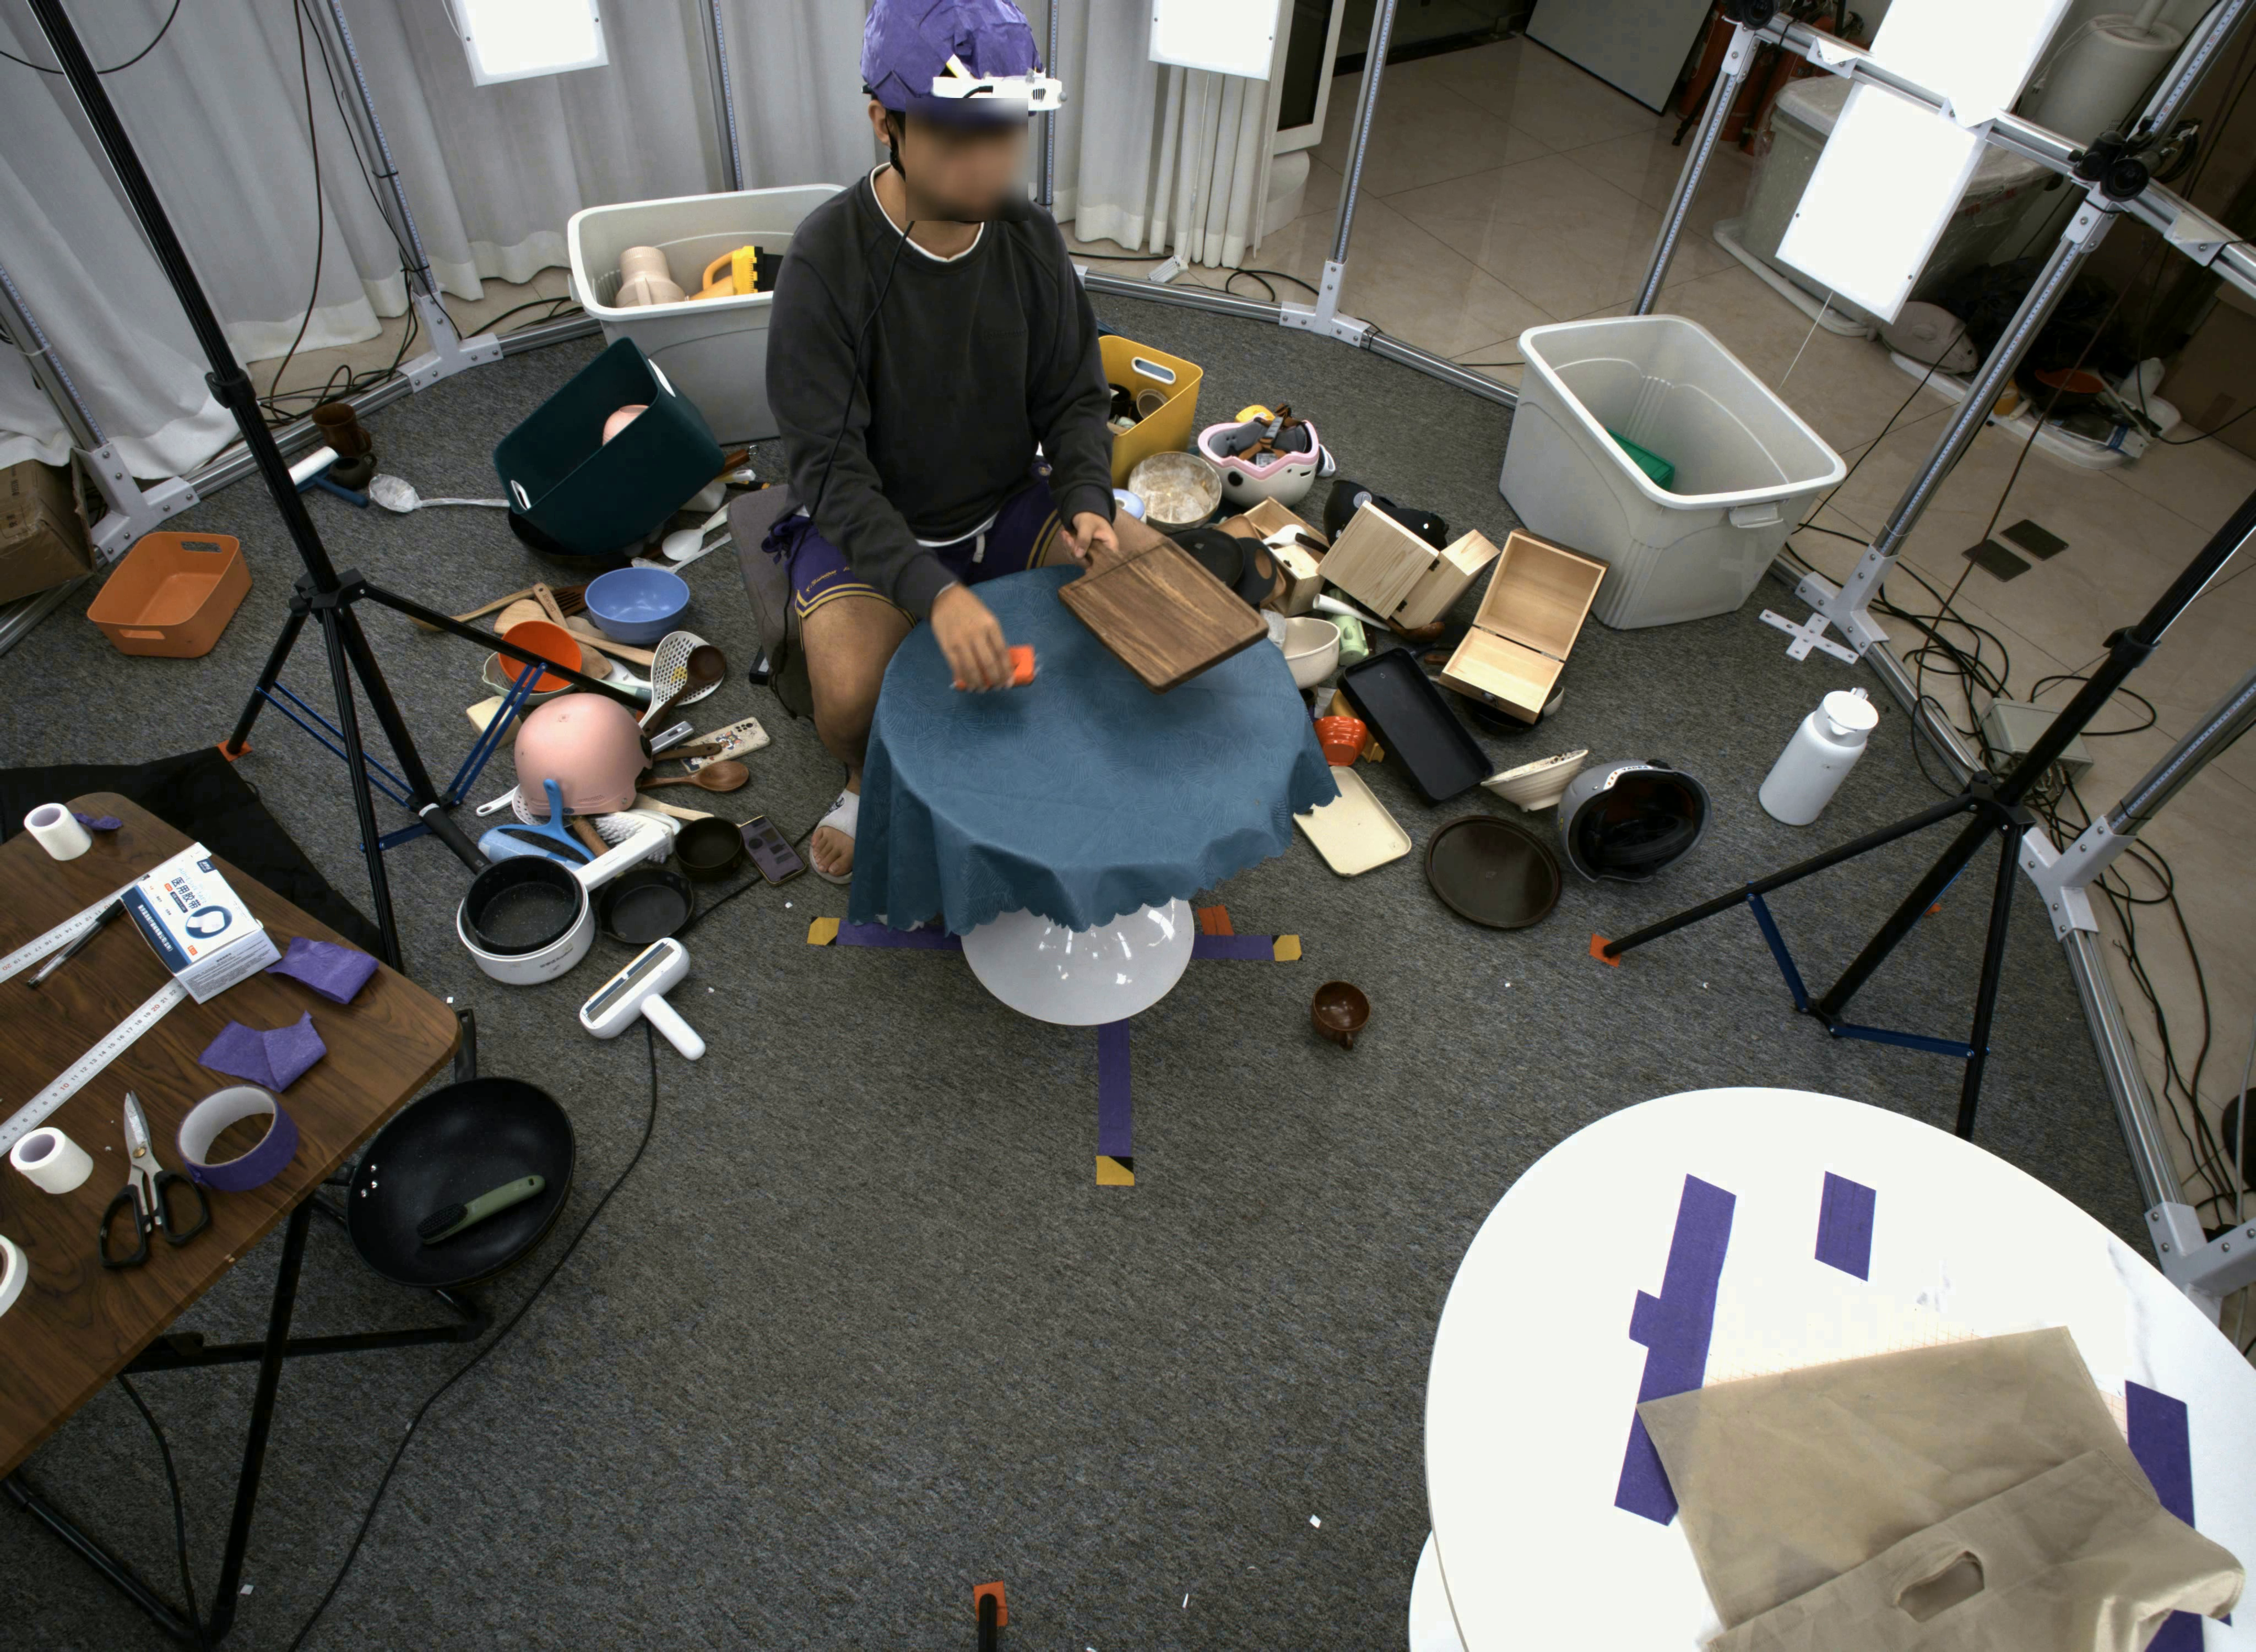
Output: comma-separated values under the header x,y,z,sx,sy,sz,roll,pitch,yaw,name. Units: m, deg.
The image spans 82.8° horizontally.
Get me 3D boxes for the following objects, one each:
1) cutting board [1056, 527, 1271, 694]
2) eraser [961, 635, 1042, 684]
x,y,z,sx,sy,sz,roll,pitch,yaw,name
0.019,-0.330,1.817,0.202,0.022,0.359,-30,53,-18,cutting board
-0.173,-0.229,1.761,0.108,0.022,0.060,-7,54,2,eraser
